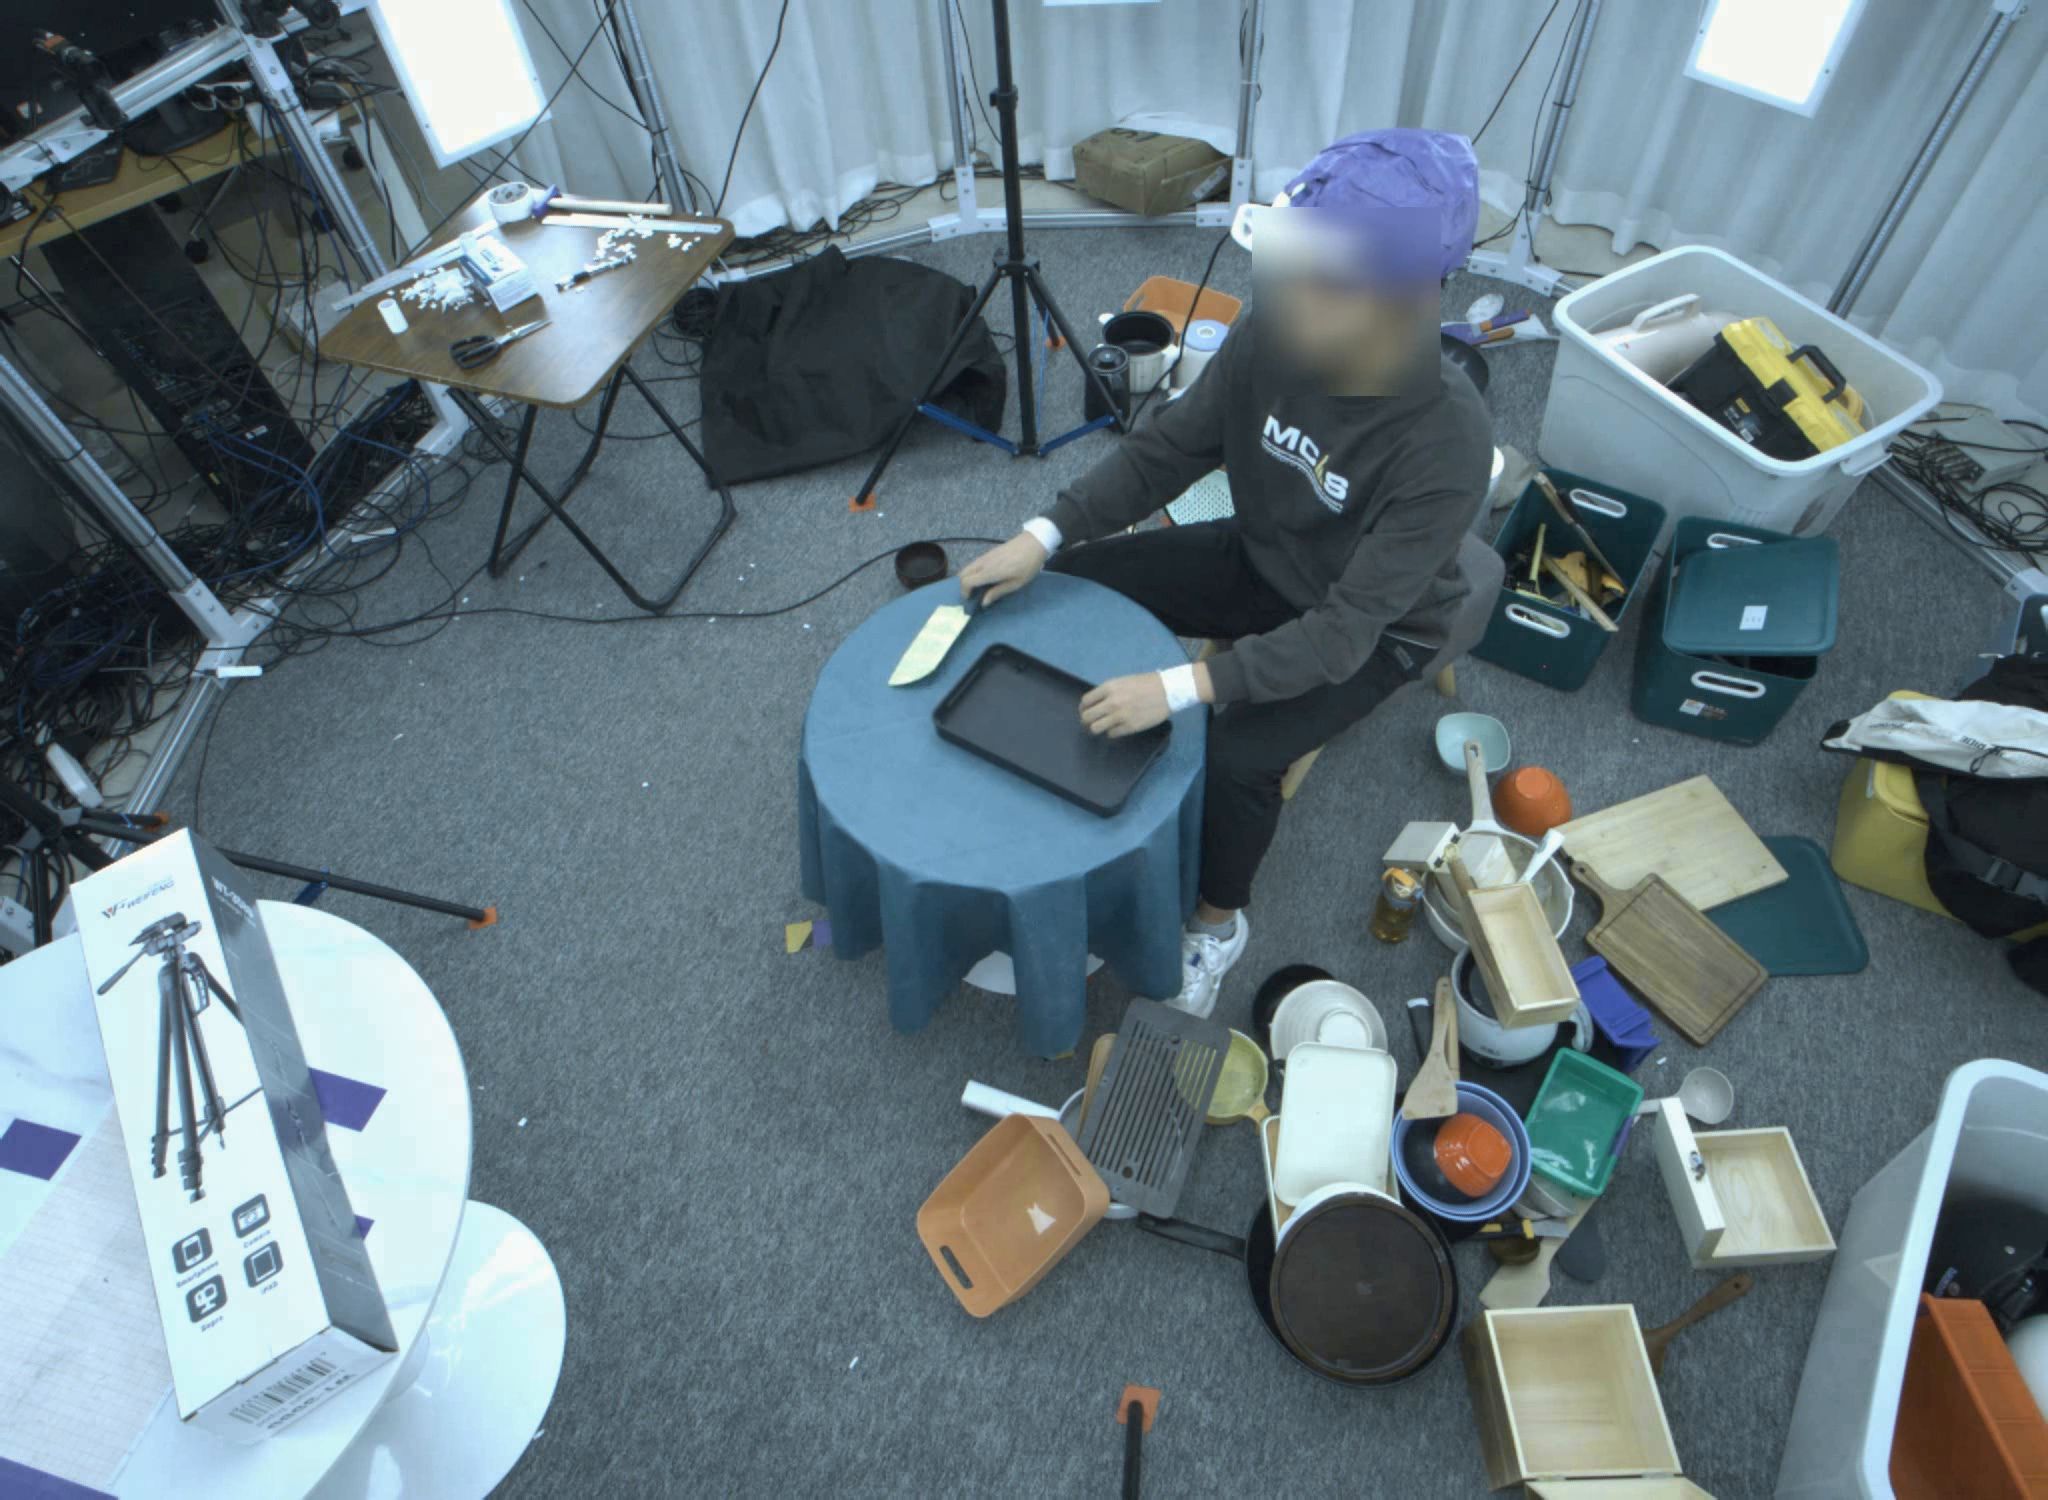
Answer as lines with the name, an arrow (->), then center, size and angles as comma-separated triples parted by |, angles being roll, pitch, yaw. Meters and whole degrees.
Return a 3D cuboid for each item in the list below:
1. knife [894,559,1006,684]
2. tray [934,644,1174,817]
knife -> -0.116, -0.203, 1.926 | 0.079, 0.028, 0.290 | 16, 56, 31
tray -> 0.043, -0.032, 1.794 | 0.313, 0.037, 0.185 | 25, 58, 18
